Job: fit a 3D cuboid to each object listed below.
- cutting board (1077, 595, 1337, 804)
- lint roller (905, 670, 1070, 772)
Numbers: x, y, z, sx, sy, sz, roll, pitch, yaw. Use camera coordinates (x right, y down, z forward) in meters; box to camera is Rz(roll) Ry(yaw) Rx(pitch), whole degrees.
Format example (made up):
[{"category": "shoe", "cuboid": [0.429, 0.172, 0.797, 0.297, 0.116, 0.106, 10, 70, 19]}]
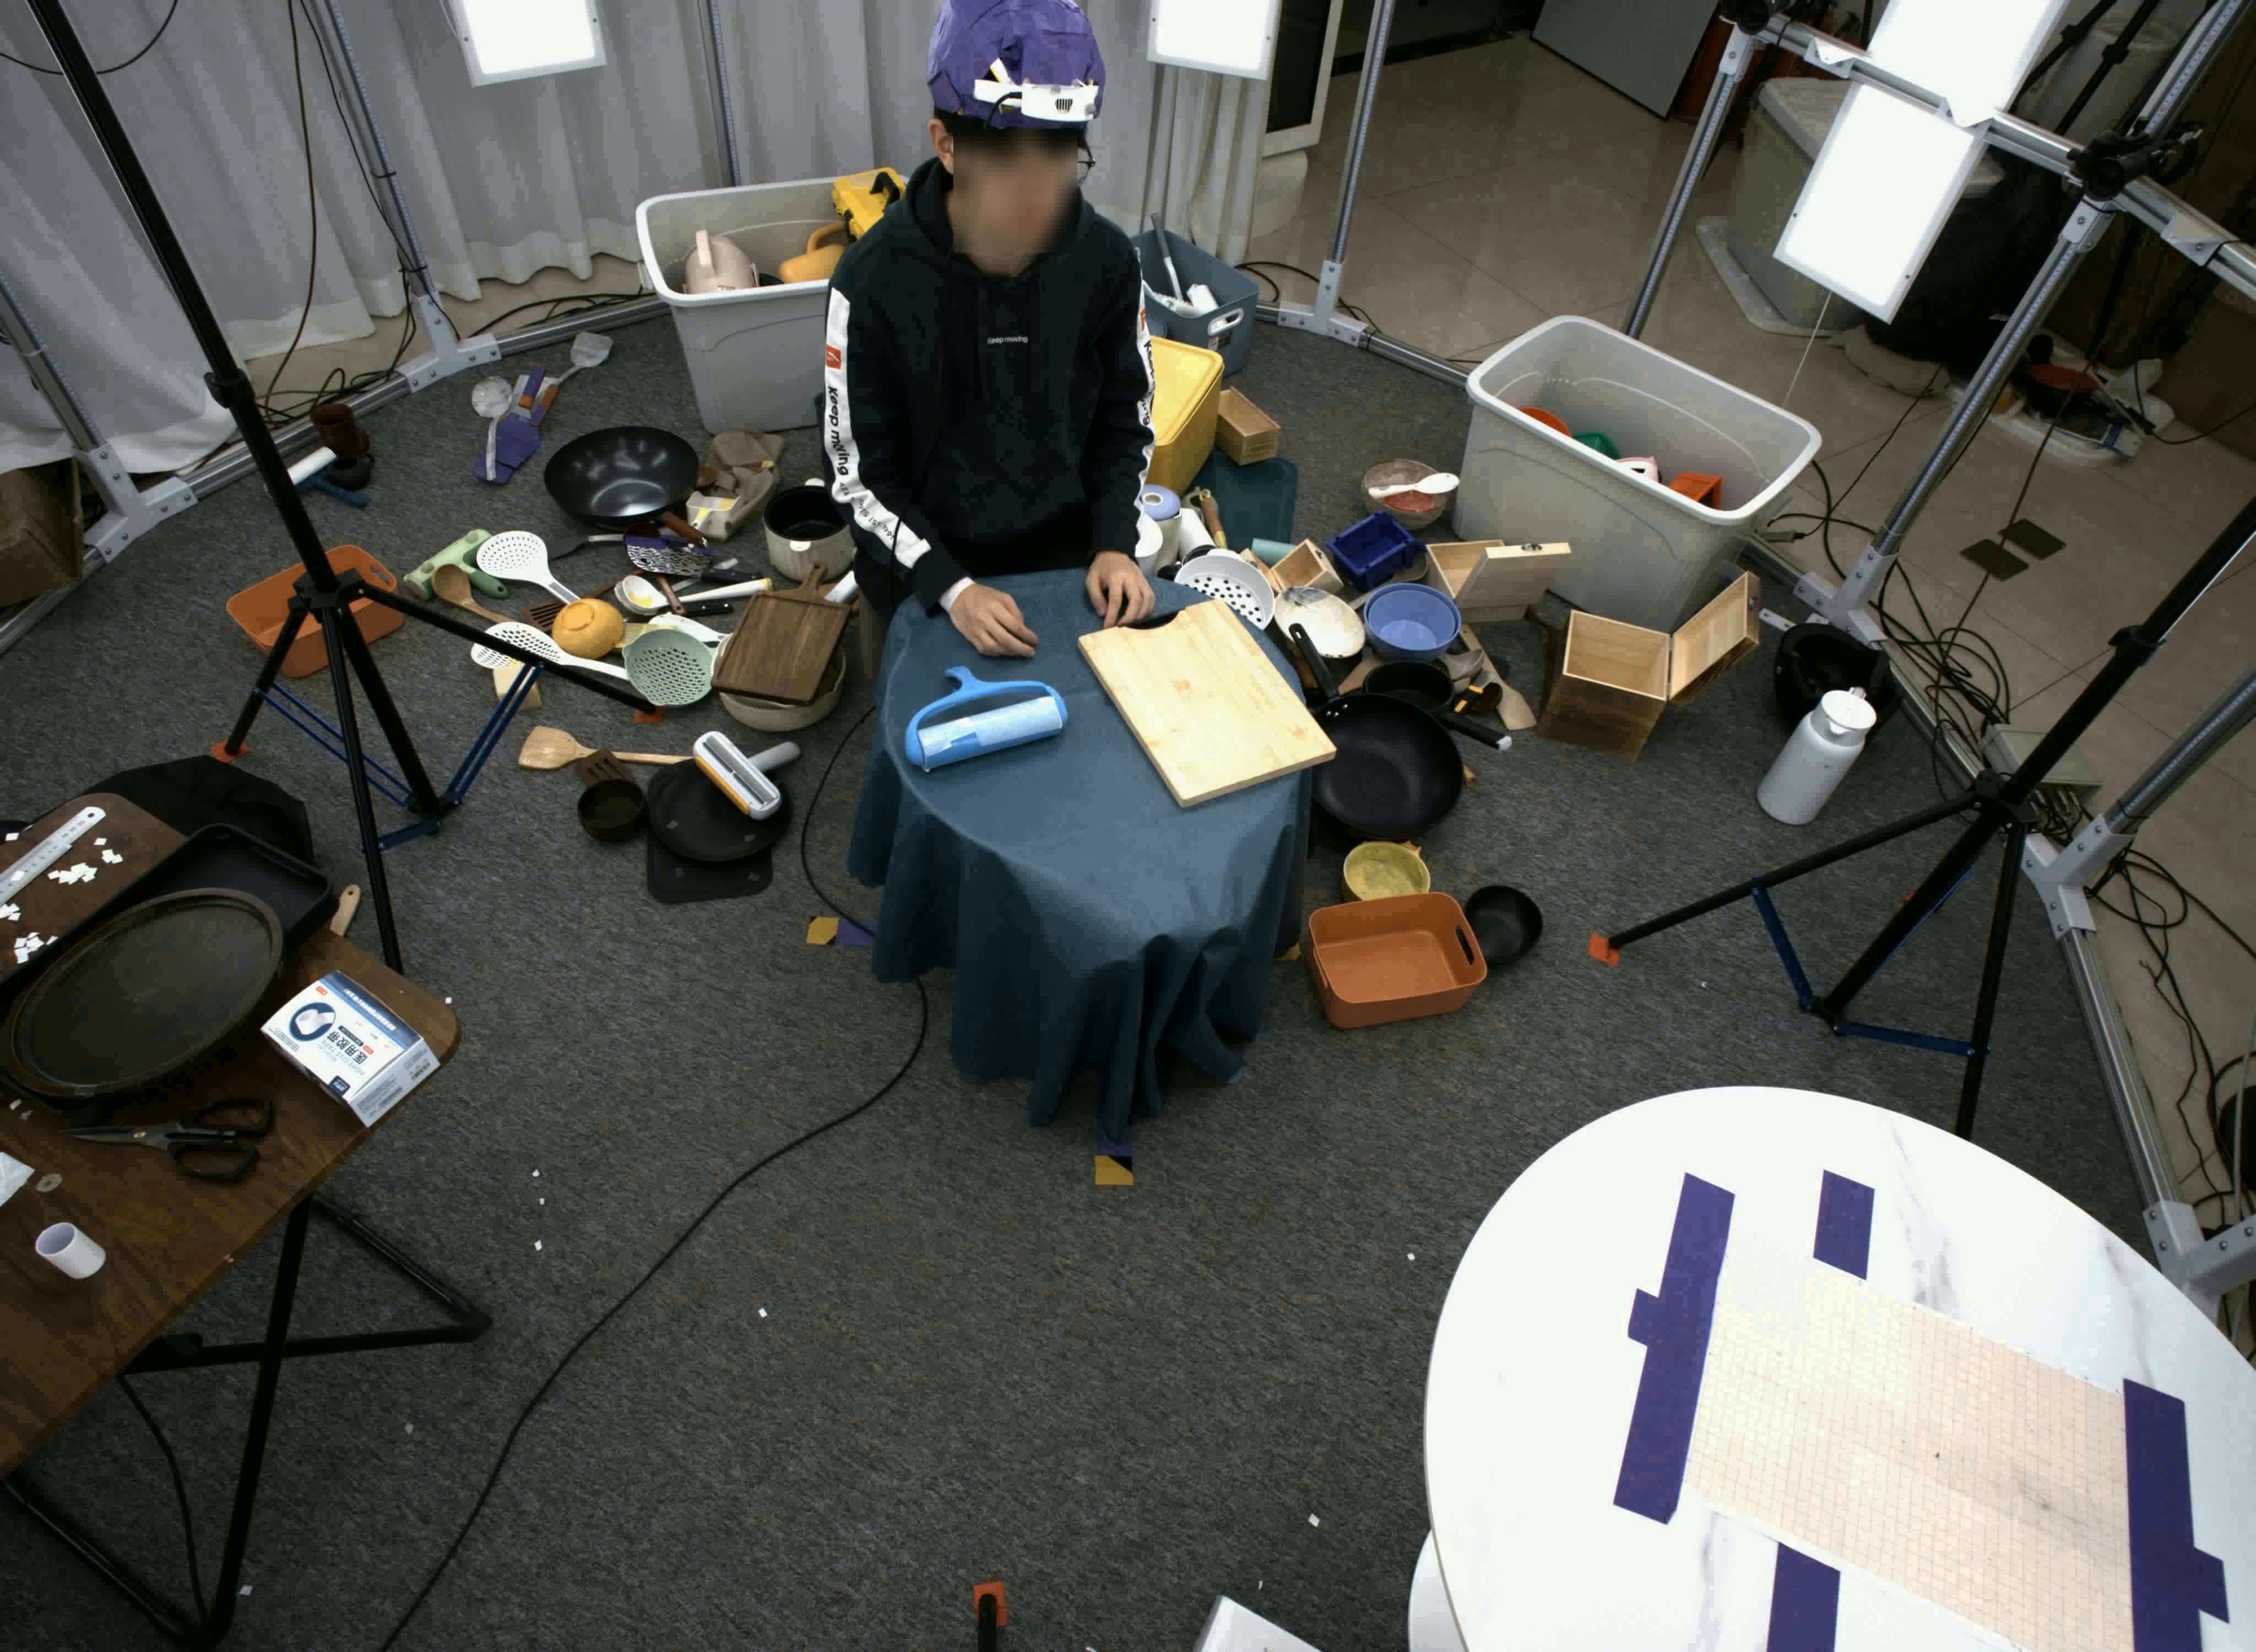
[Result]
[{"category": "cutting board", "cuboid": [0.106, -0.188, 1.827, 0.251, 0.023, 0.356, -18, 53, -19]}, {"category": "lint roller", "cuboid": [-0.213, -0.168, 1.764, 0.229, 0.066, 0.184, -20, 54, -18]}]
